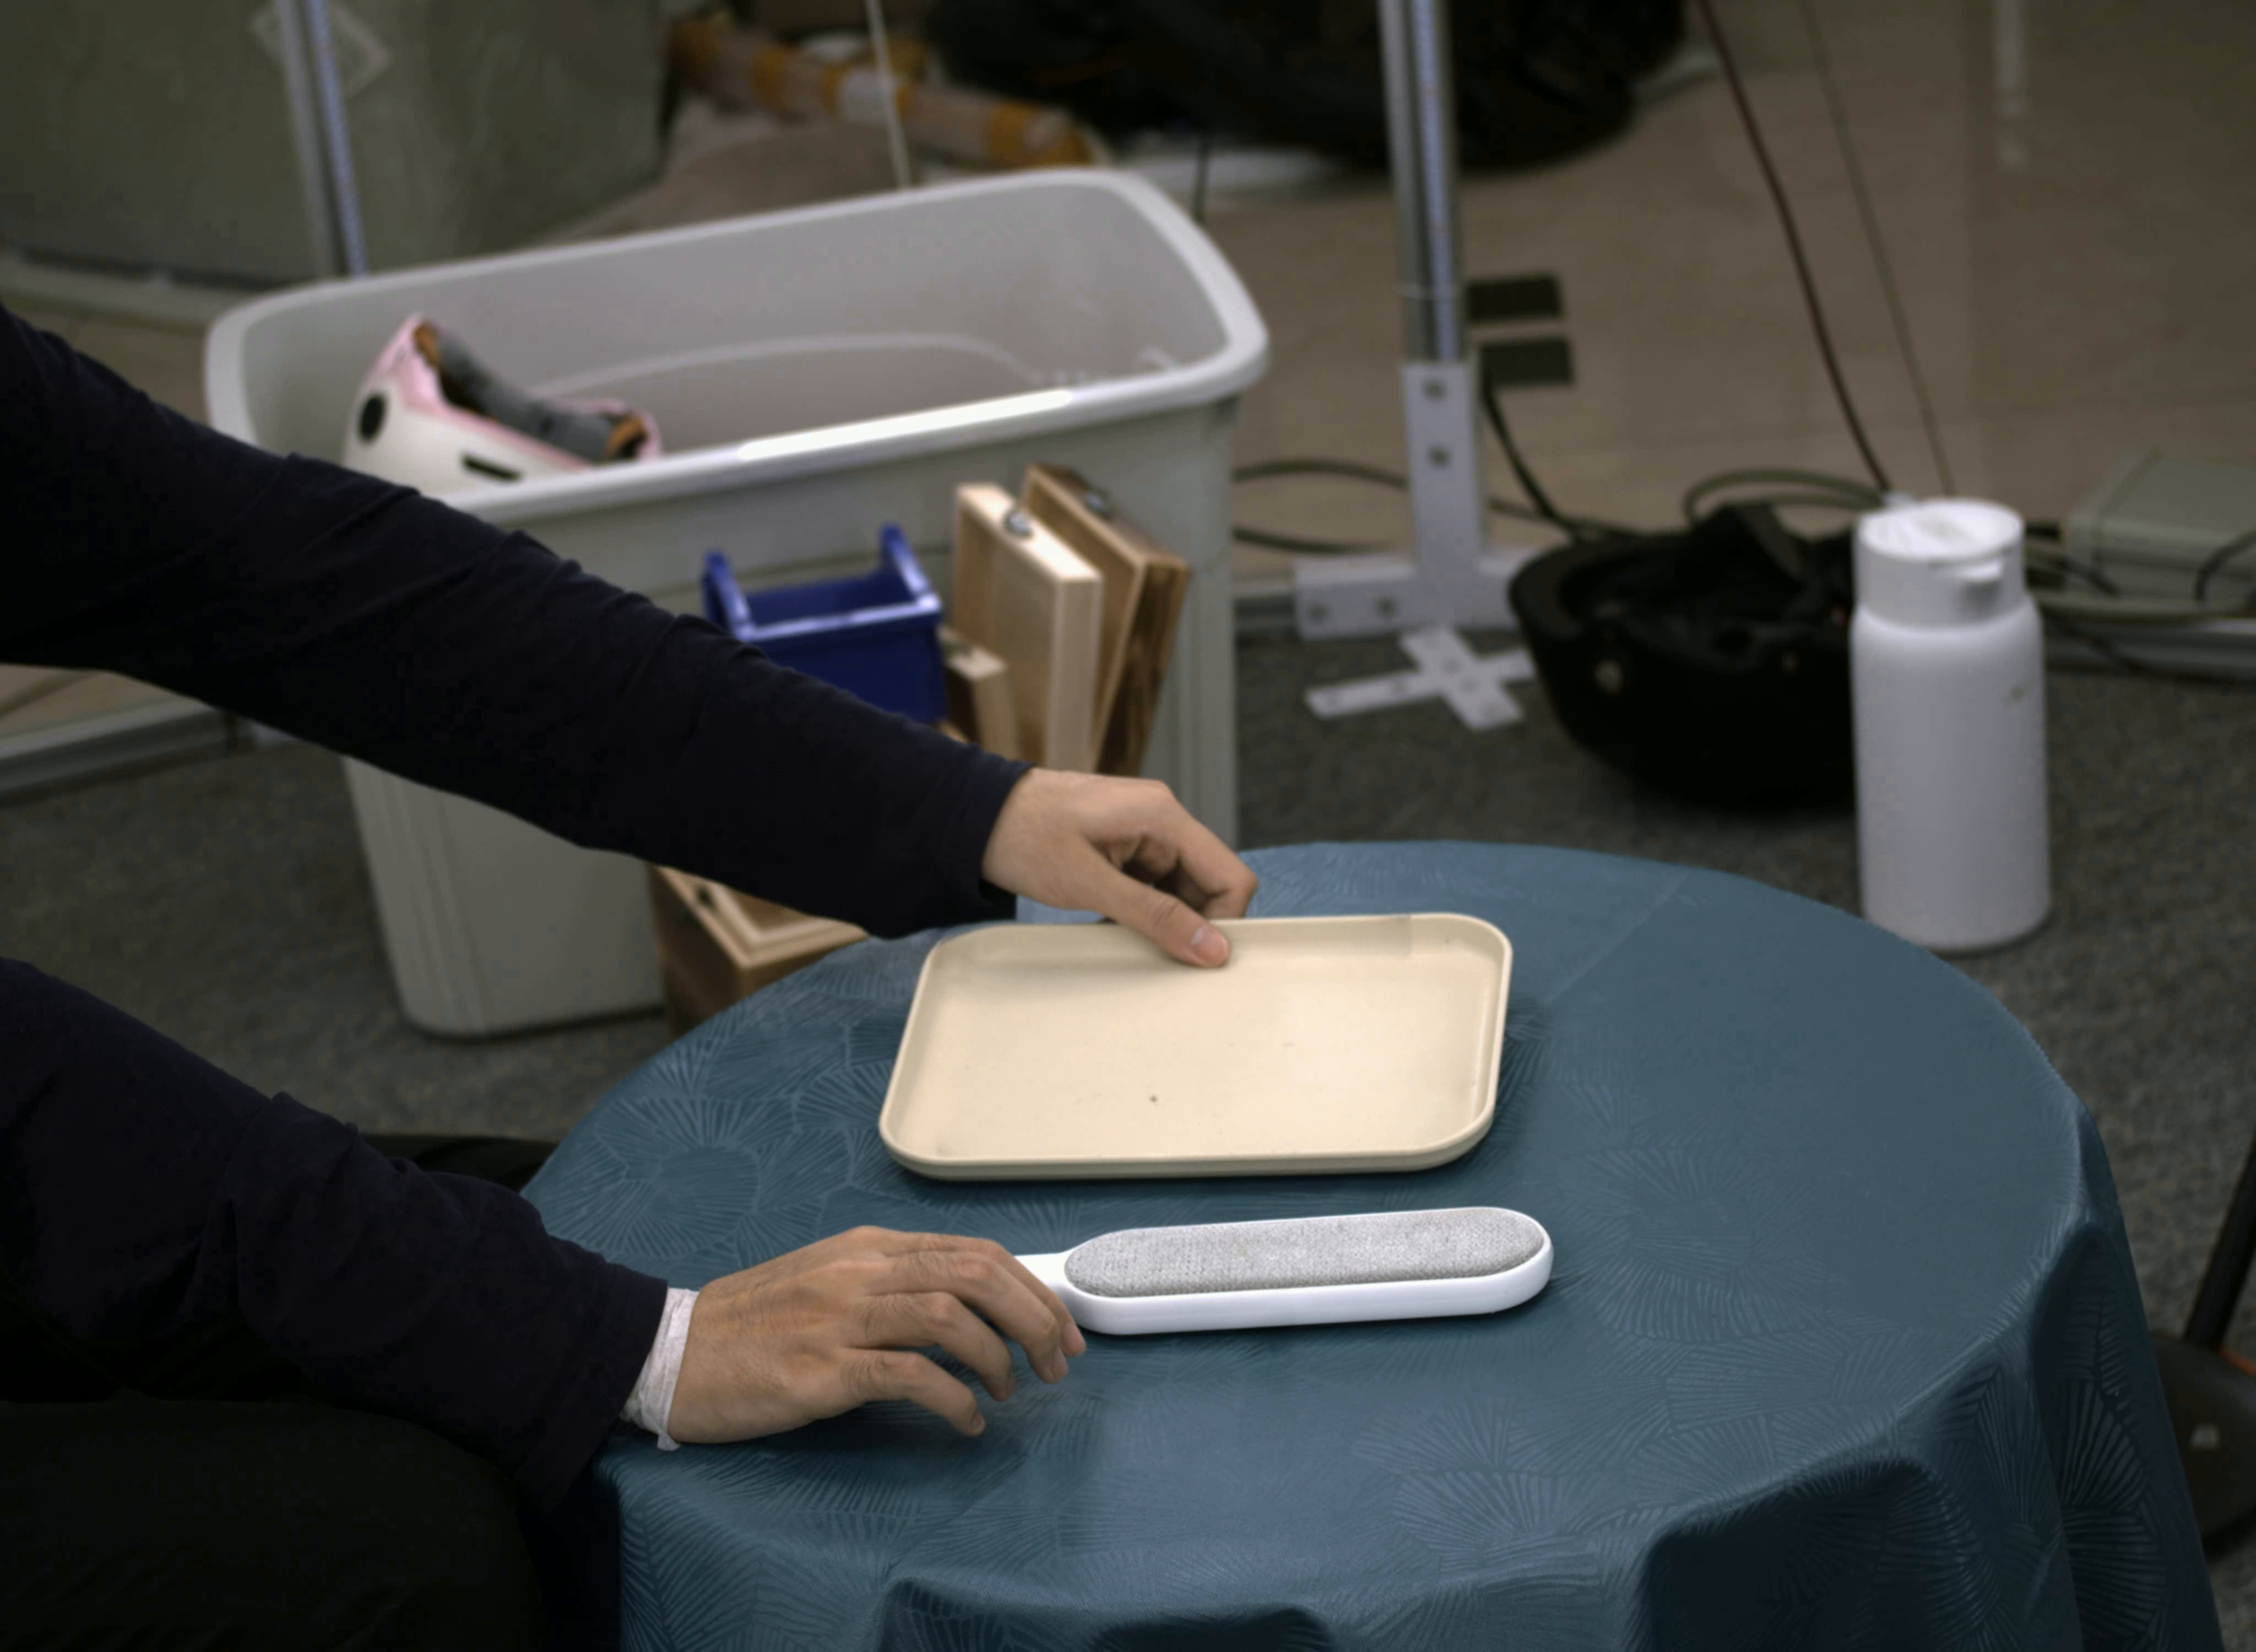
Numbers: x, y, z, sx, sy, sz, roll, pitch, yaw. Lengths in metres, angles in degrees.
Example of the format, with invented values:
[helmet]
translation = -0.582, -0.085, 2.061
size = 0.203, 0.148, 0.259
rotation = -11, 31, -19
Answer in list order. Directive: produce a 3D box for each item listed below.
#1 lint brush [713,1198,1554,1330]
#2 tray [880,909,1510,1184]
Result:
[lint brush]
translation = 0.001, 0.162, 2.068
size = 0.308, 0.021, 0.059
rotation = -4, 30, 6
[tray]
translation = 0.028, 0.087, 2.216
size = 0.239, 0.018, 0.168
rotation = -2, 32, 9
